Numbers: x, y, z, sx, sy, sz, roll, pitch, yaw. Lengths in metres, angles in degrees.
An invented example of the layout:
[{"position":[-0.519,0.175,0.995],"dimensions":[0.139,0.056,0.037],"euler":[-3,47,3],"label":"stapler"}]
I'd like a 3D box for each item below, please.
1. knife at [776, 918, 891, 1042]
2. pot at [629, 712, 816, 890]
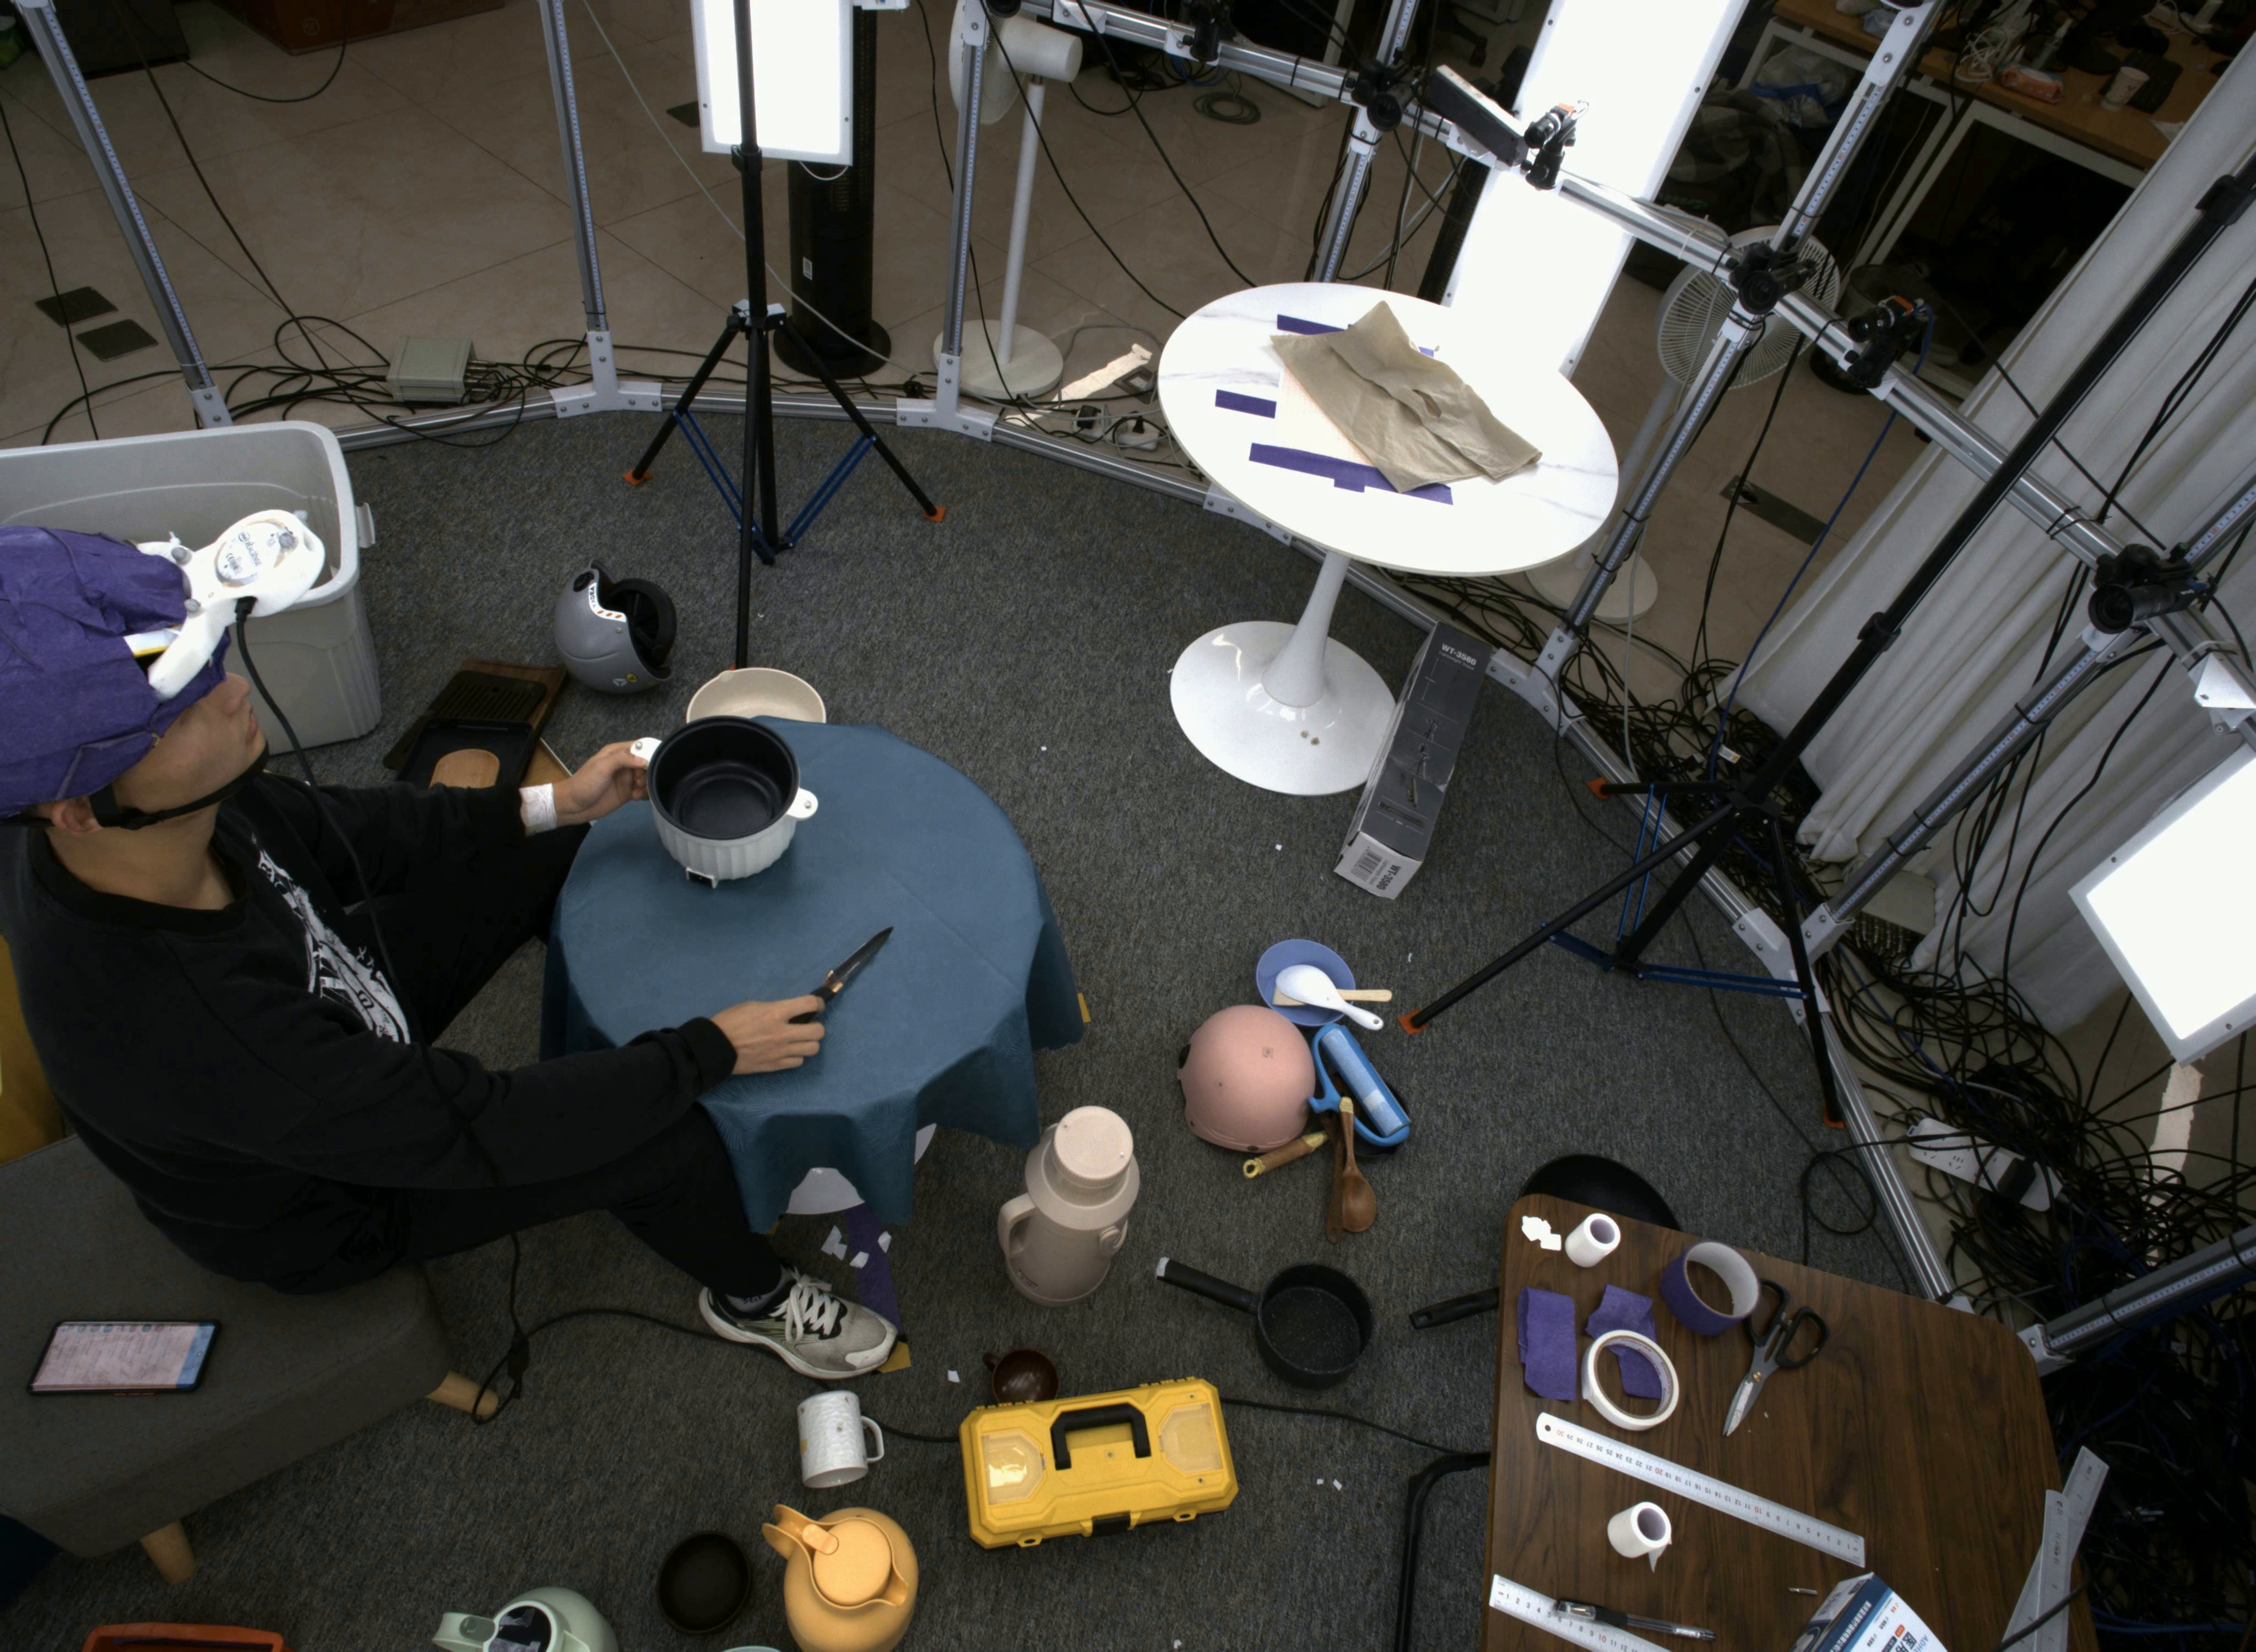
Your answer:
[{"position":[-0.352,0.181,1.579],"dimensions":[0.026,0.017,0.225],"euler":[51,45,-9],"label":"knife"},{"position":[-0.507,-0.034,1.626],"dimensions":[0.240,0.144,0.189],"euler":[19,60,-5],"label":"pot"}]
